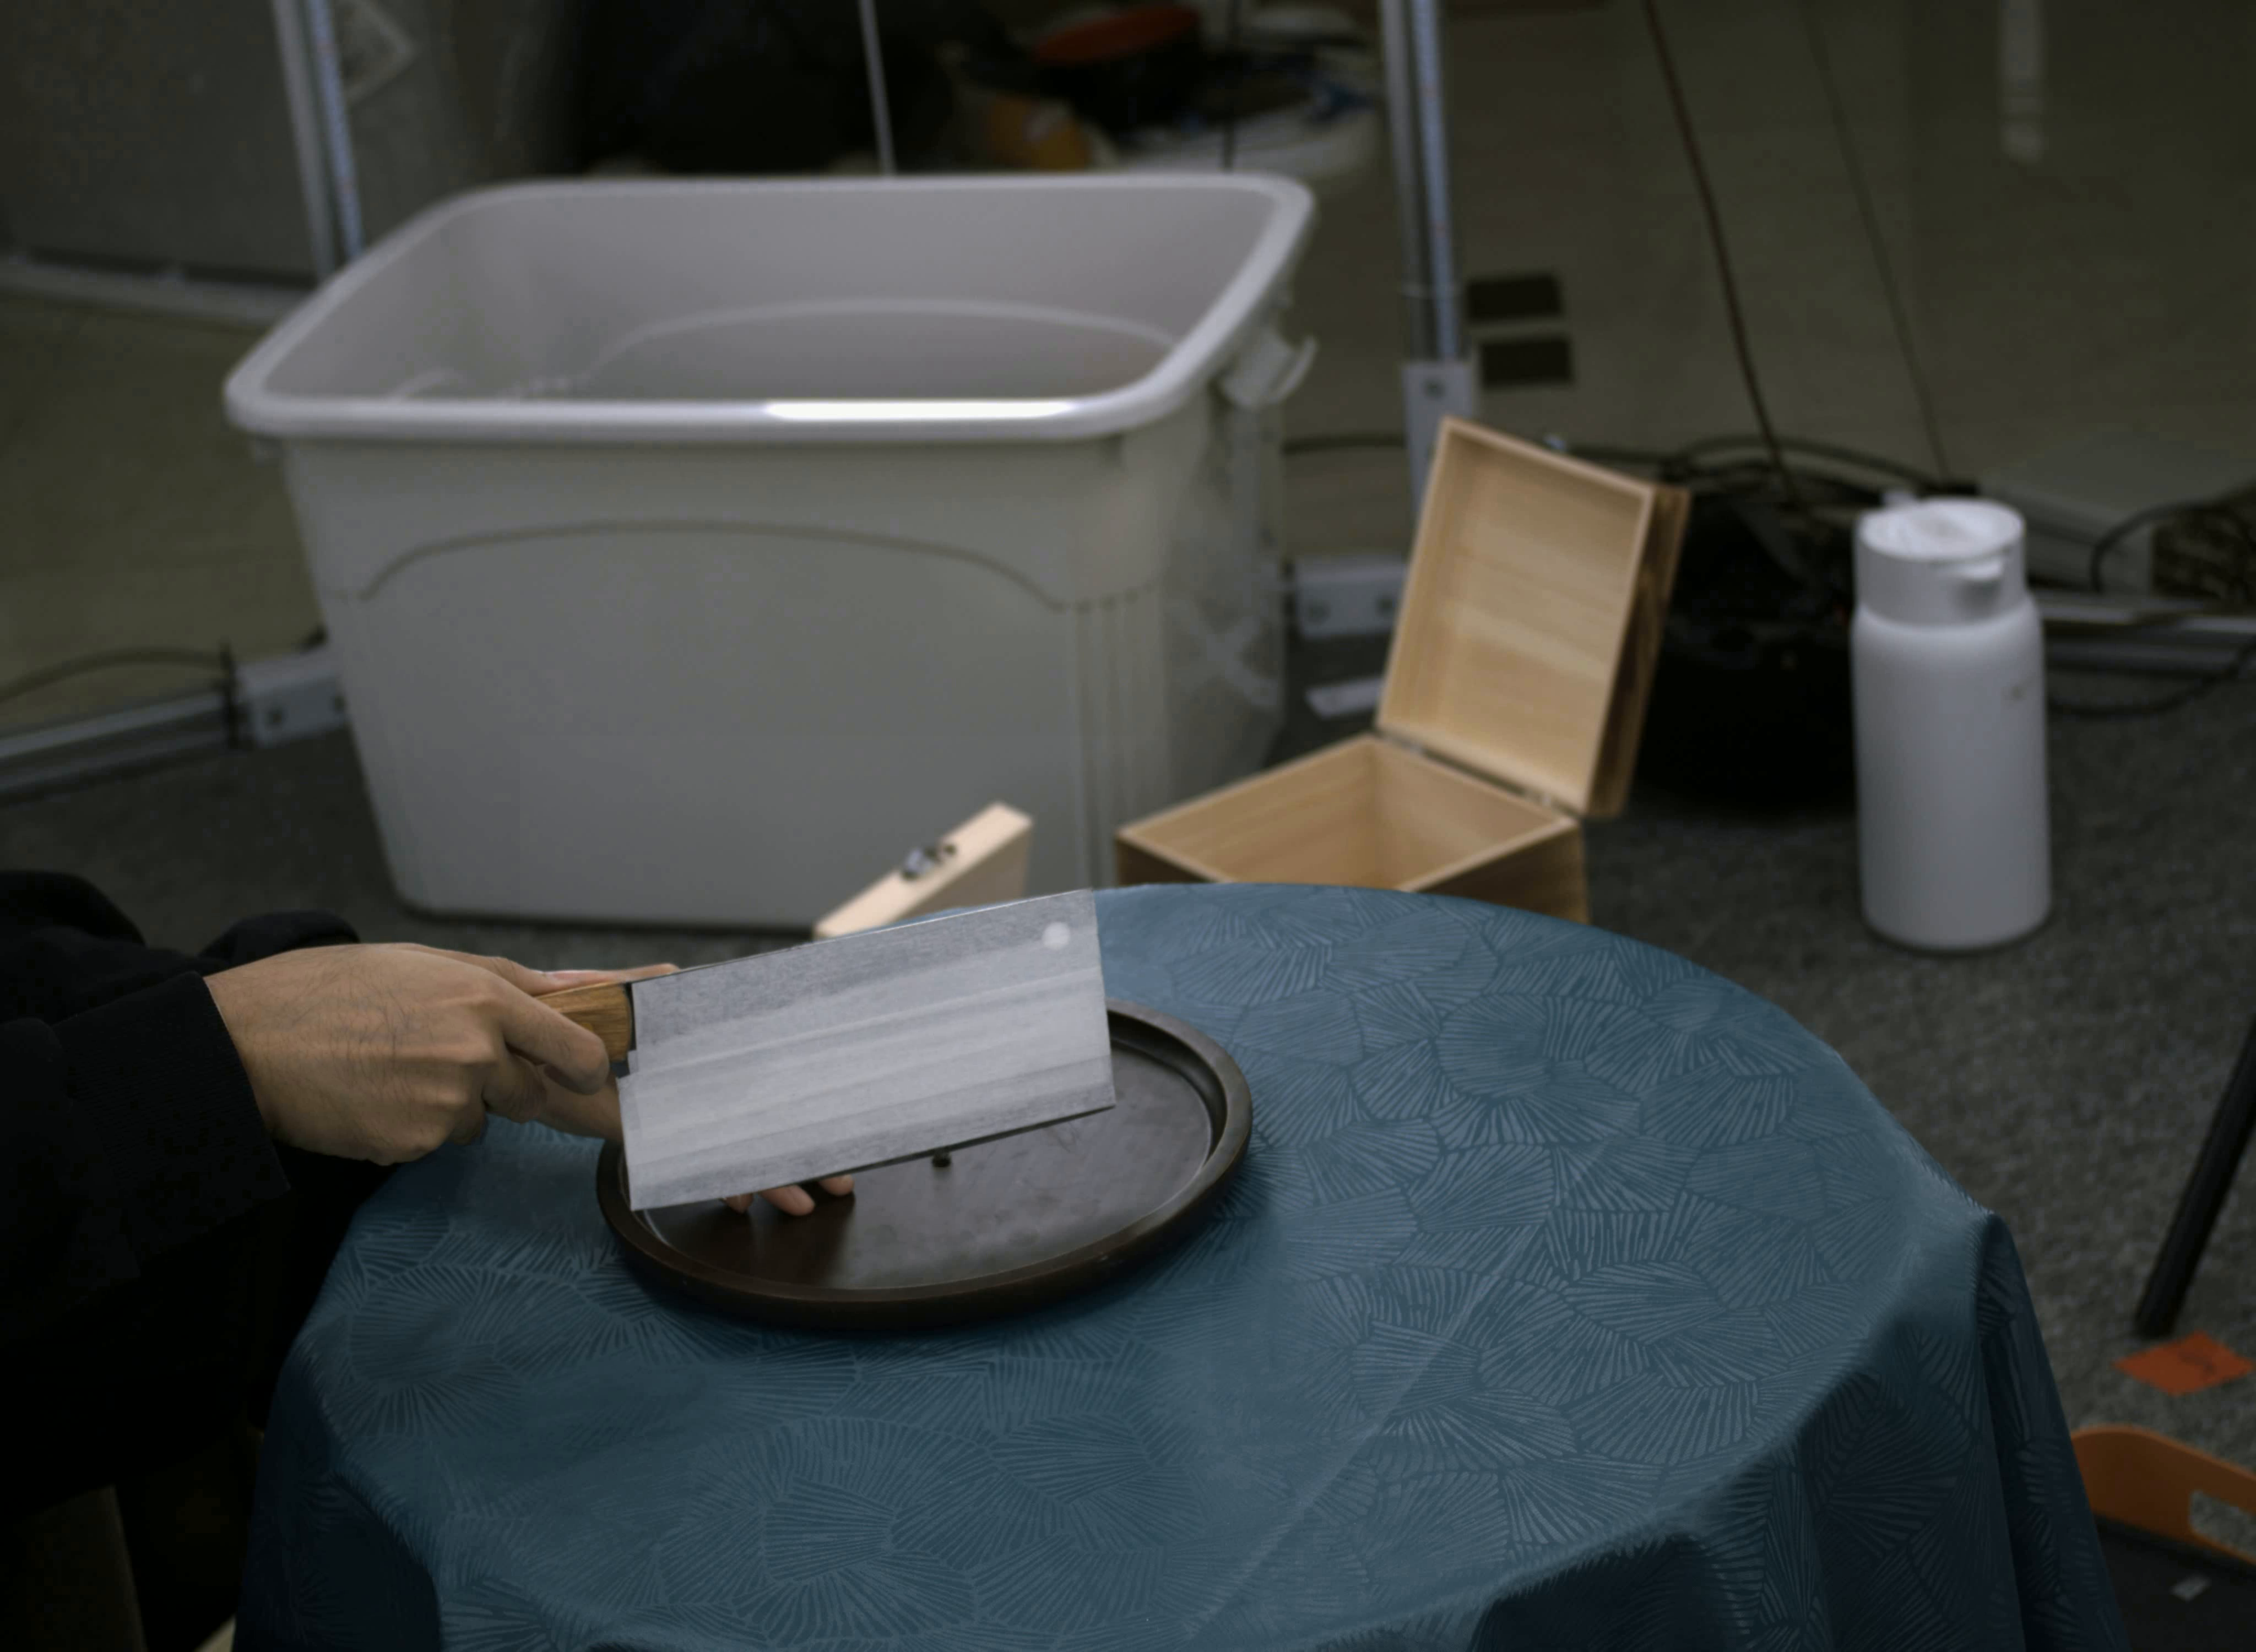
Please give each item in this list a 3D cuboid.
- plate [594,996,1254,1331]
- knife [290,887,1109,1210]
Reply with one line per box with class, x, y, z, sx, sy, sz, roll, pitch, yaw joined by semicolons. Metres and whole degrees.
plate;-0.077;0.125;2.165;0.254;0.029;0.251;-5;24;2
knife;-0.152;0.092;2.079;0.305;0.094;0.021;-11;21;-16
